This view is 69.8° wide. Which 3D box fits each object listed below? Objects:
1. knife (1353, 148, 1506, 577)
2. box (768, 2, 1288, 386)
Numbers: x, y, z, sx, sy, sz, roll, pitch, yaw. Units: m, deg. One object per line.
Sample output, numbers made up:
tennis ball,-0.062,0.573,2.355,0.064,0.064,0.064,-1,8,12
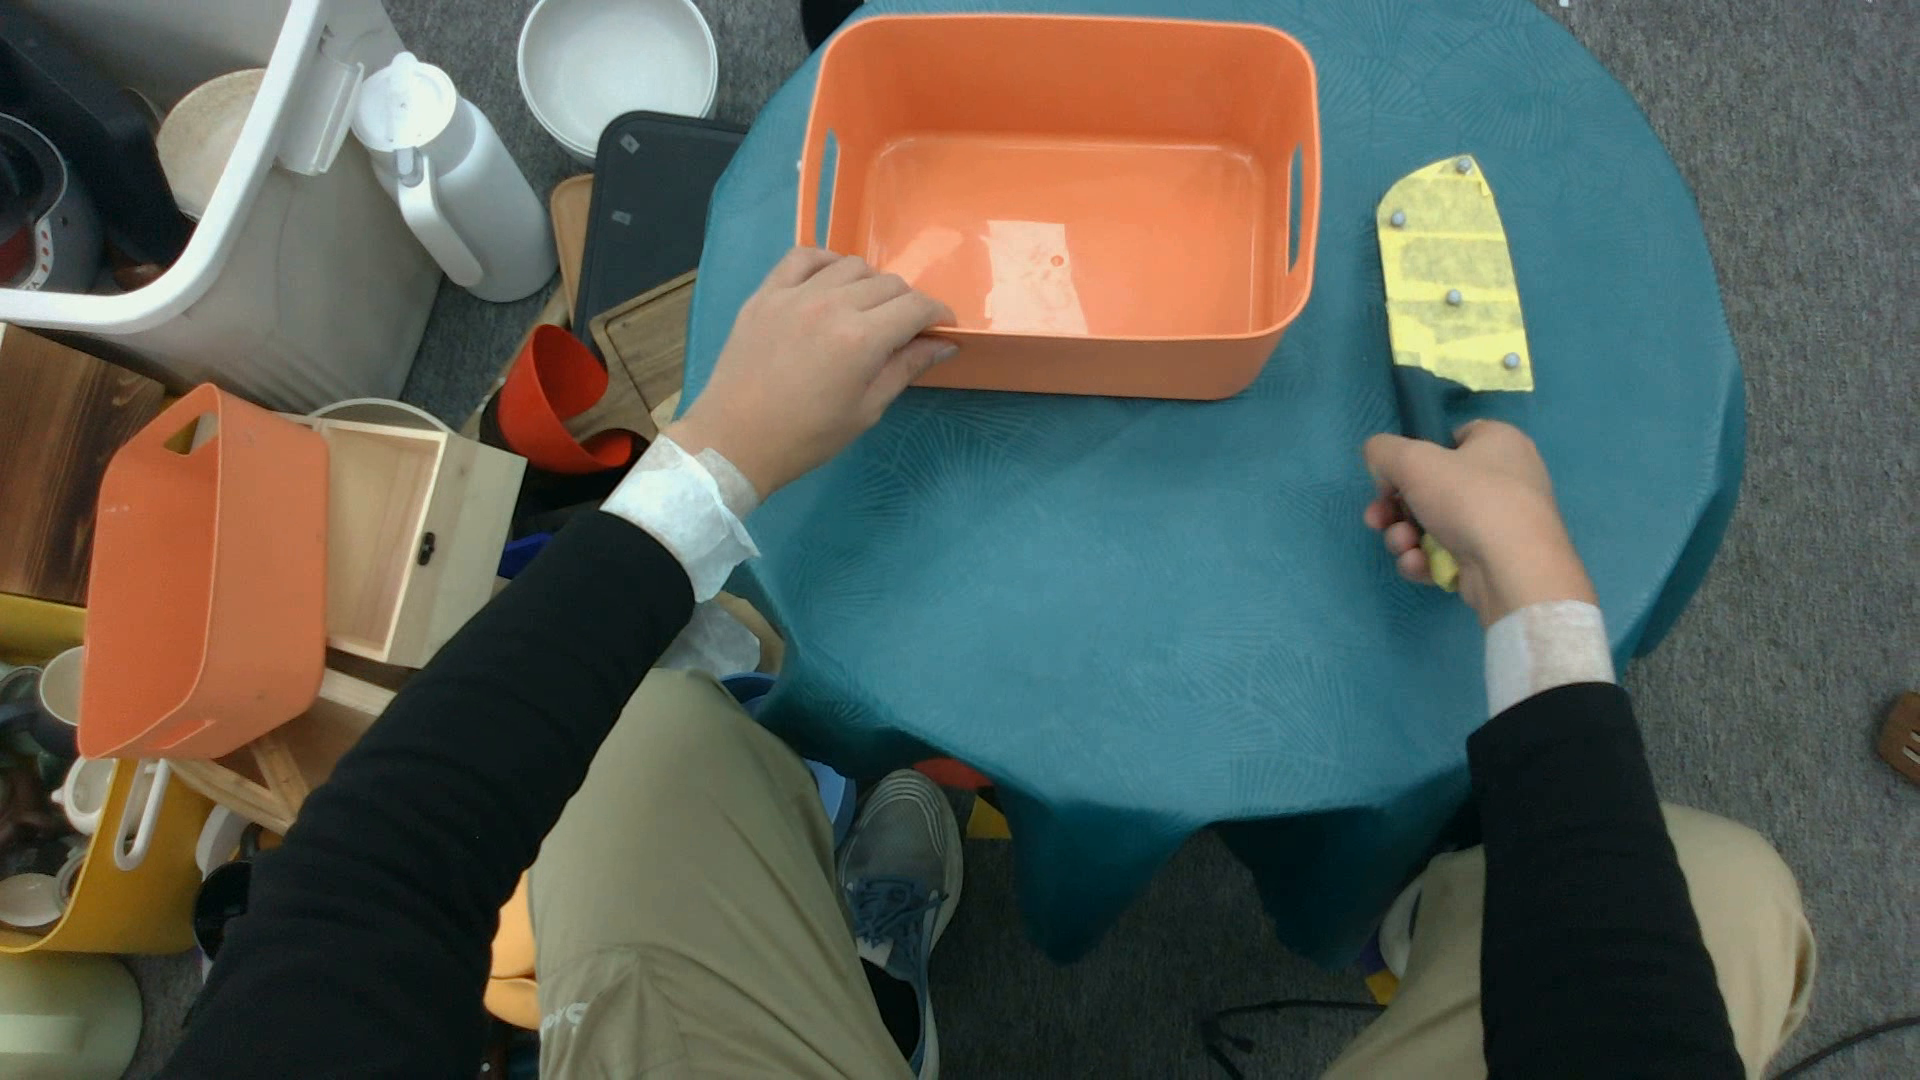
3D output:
knife,0.259,-0.109,0.758,0.081,0.027,0.290,6,62,2
box,0.039,-0.187,0.773,0.273,0.102,0.200,3,71,4
